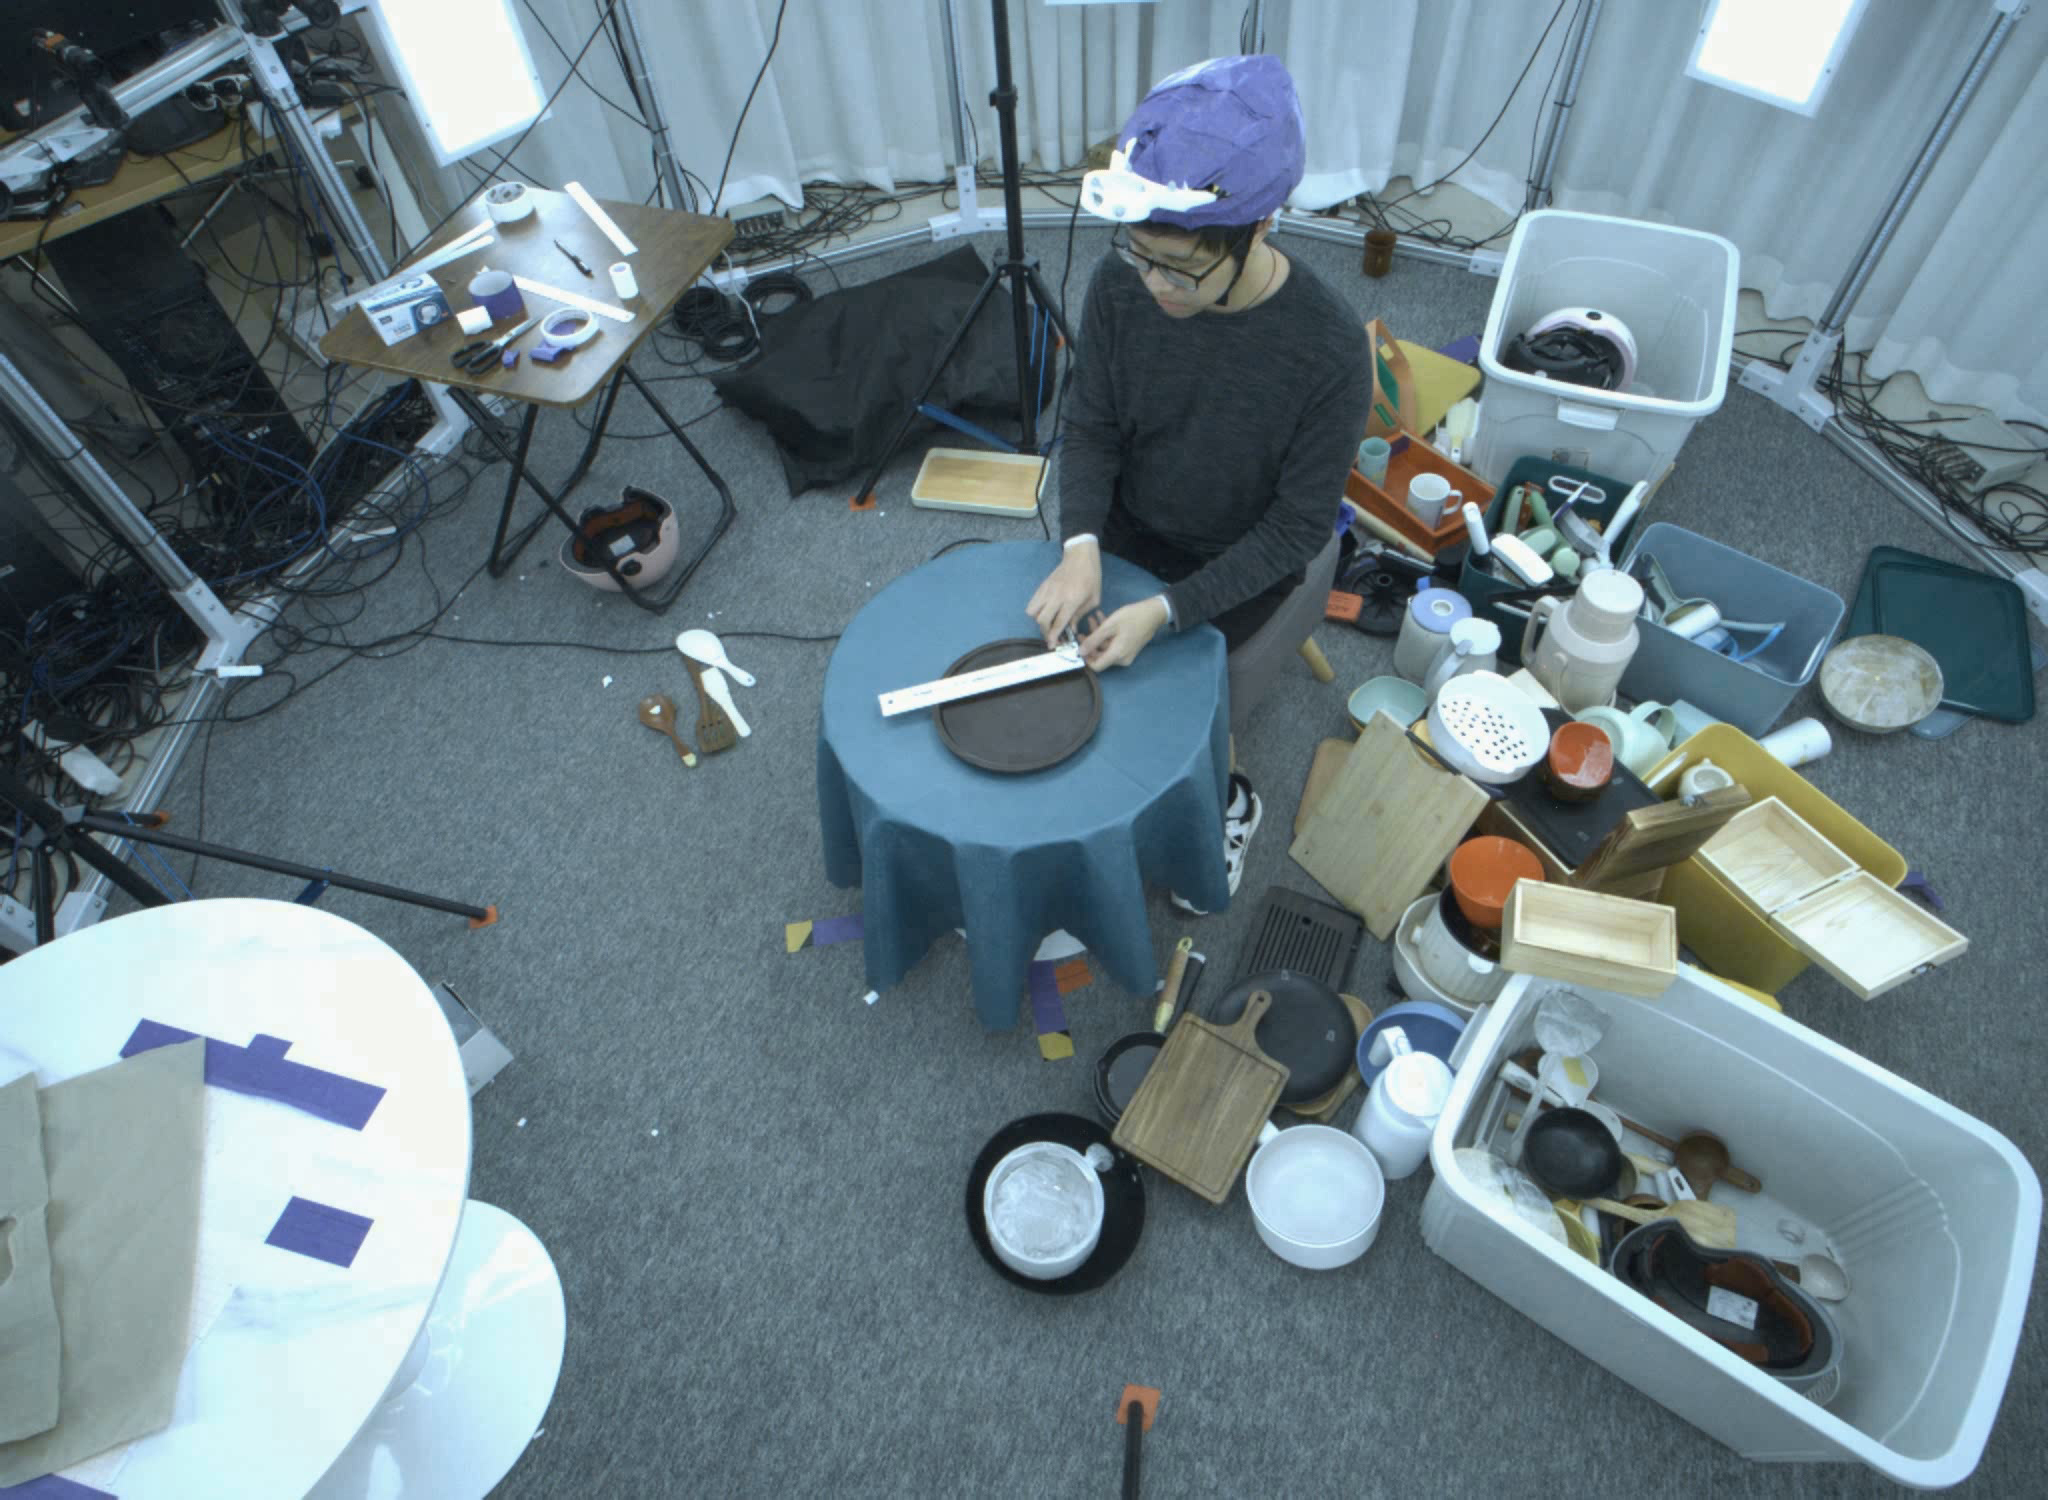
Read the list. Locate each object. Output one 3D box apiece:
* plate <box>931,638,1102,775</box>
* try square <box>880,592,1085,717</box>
[{"bbox_3d":[-0.011,-0.066,1.821,0.254,0.029,0.252,0,56,2],"label":"plate"},{"bbox_3d":[-0.074,-0.147,1.863,0.314,0.016,0.150,-14,56,-7],"label":"try square"}]
